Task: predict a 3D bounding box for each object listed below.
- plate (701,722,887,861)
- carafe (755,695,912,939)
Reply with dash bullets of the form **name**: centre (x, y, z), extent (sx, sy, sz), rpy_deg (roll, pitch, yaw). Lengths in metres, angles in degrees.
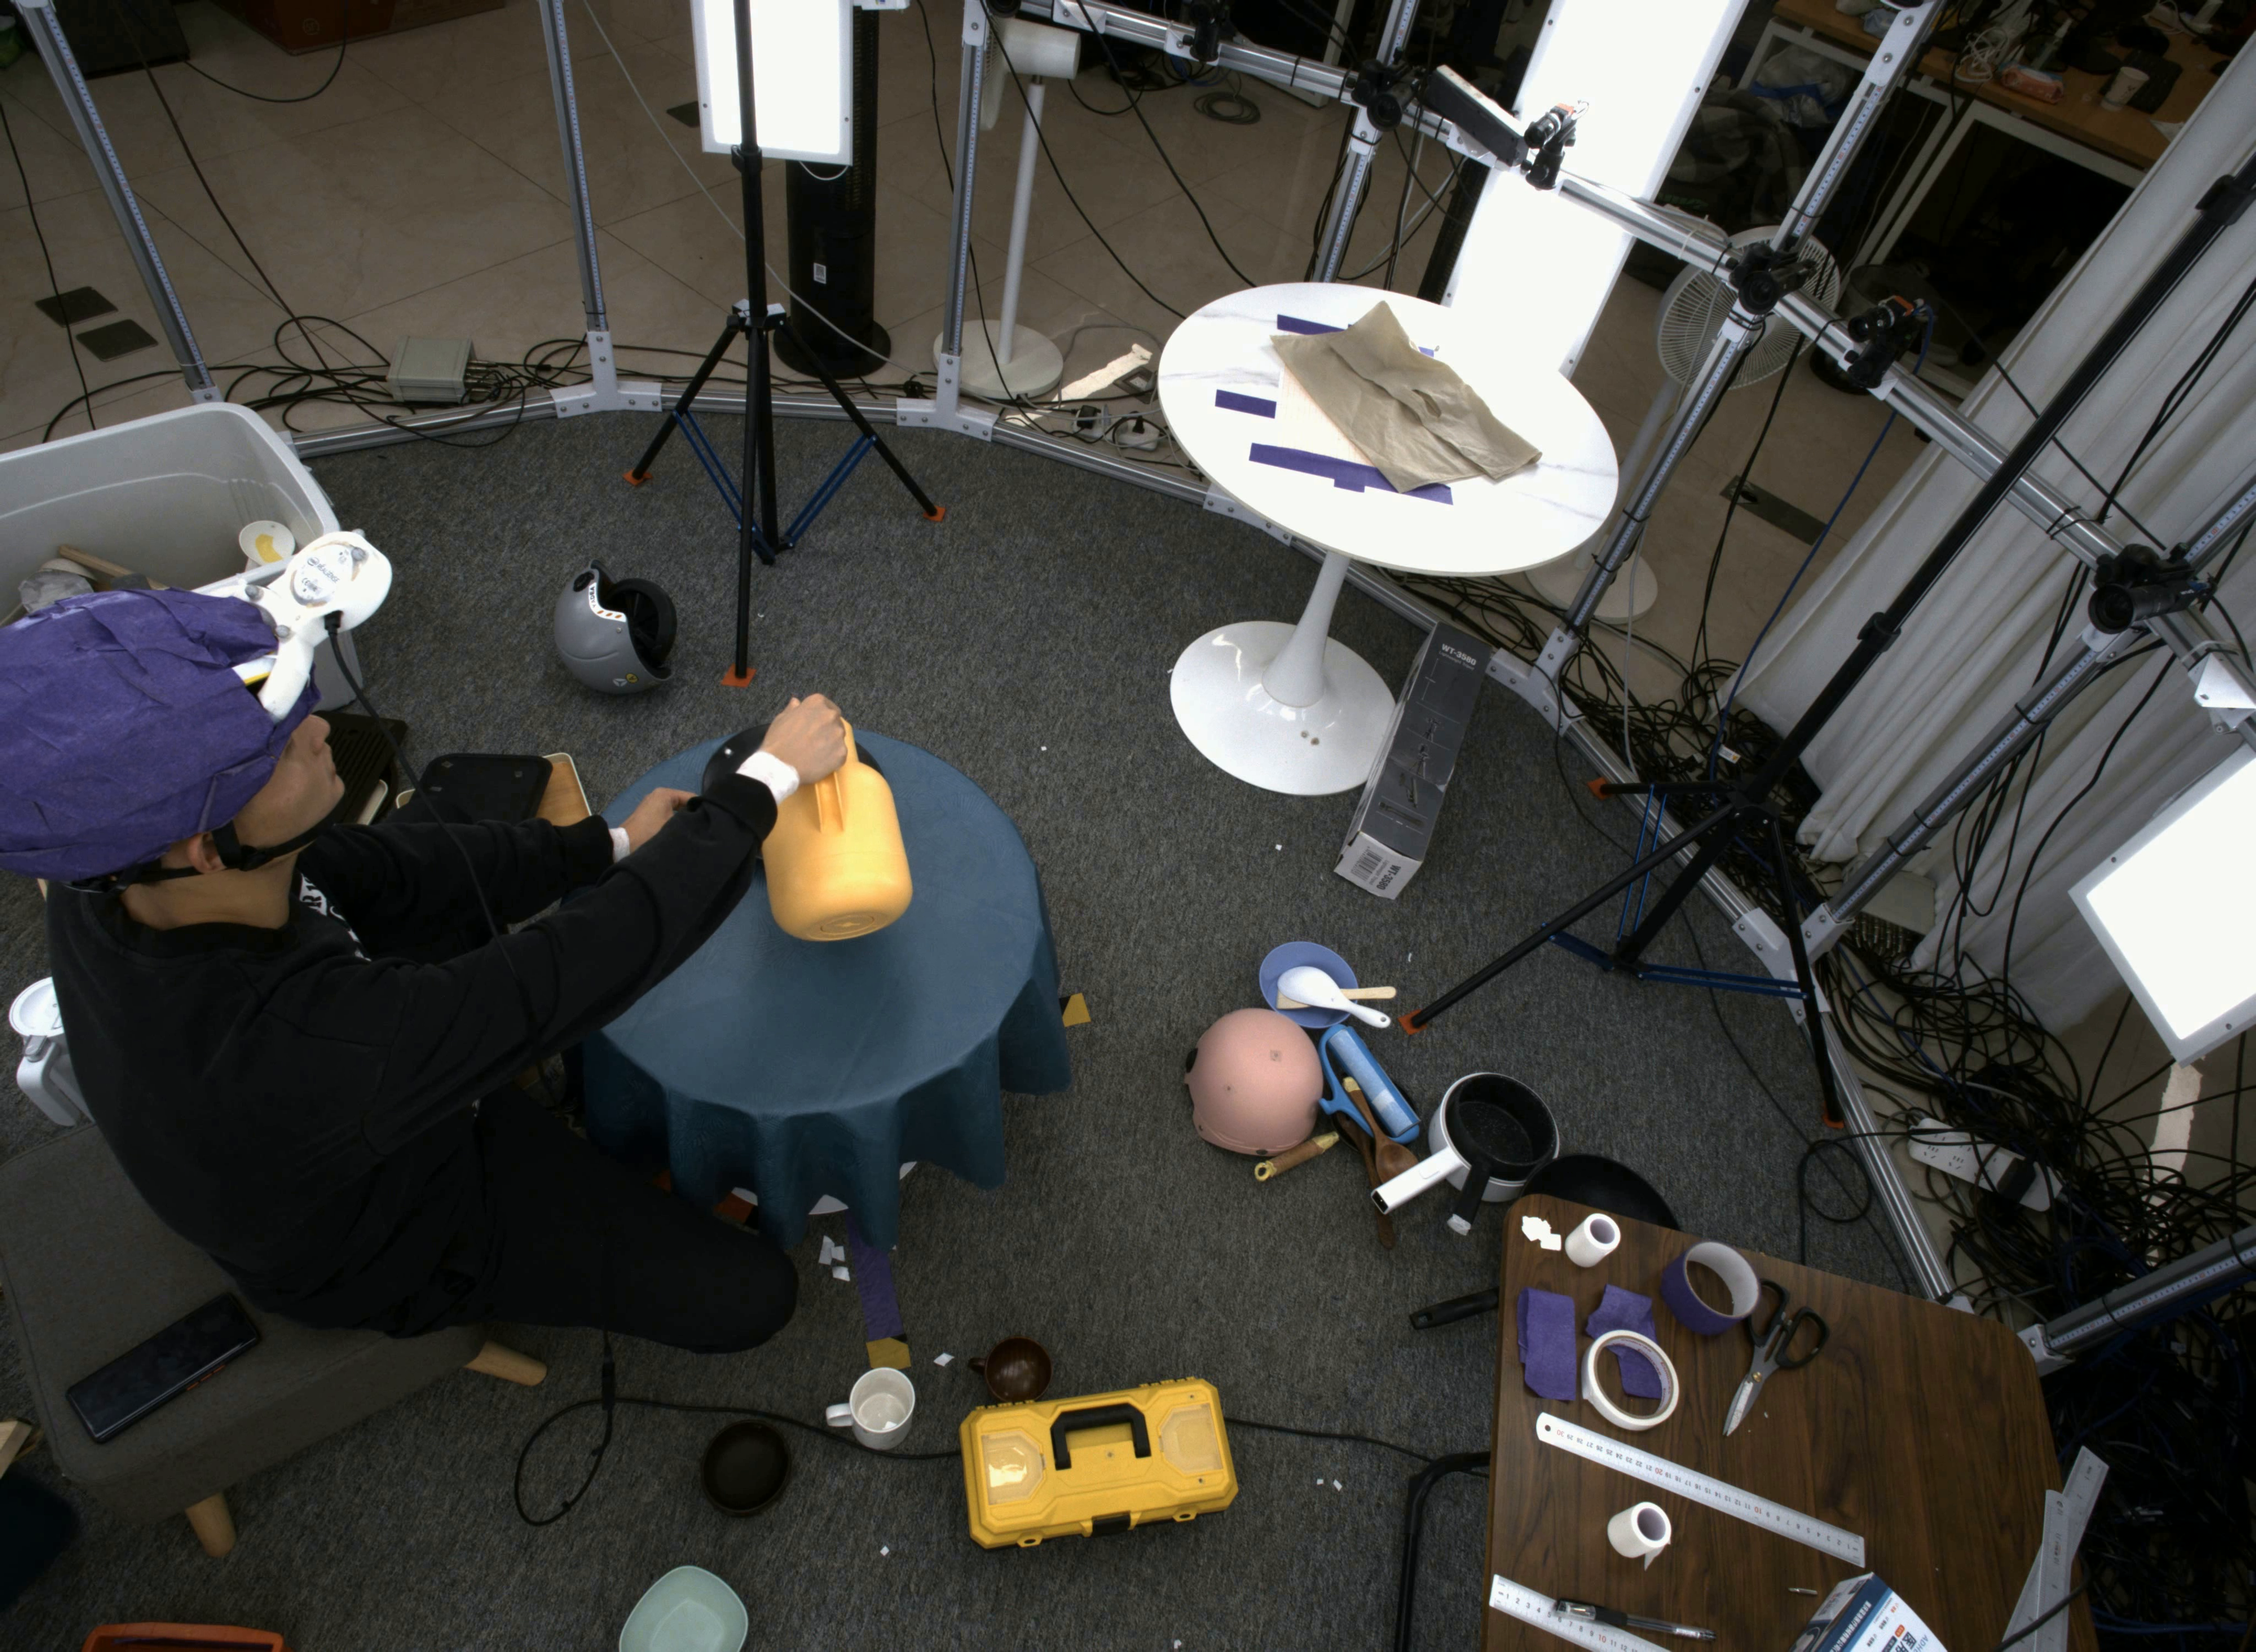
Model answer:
- **plate**: centre (-0.442, -0.042, 1.723), extent (0.245, 0.024, 0.240), rpy_deg (11, 51, -12)
- **carafe**: centre (-0.352, -0.019, 1.498), extent (0.163, 0.205, 0.257), rpy_deg (-13, 70, -13)
